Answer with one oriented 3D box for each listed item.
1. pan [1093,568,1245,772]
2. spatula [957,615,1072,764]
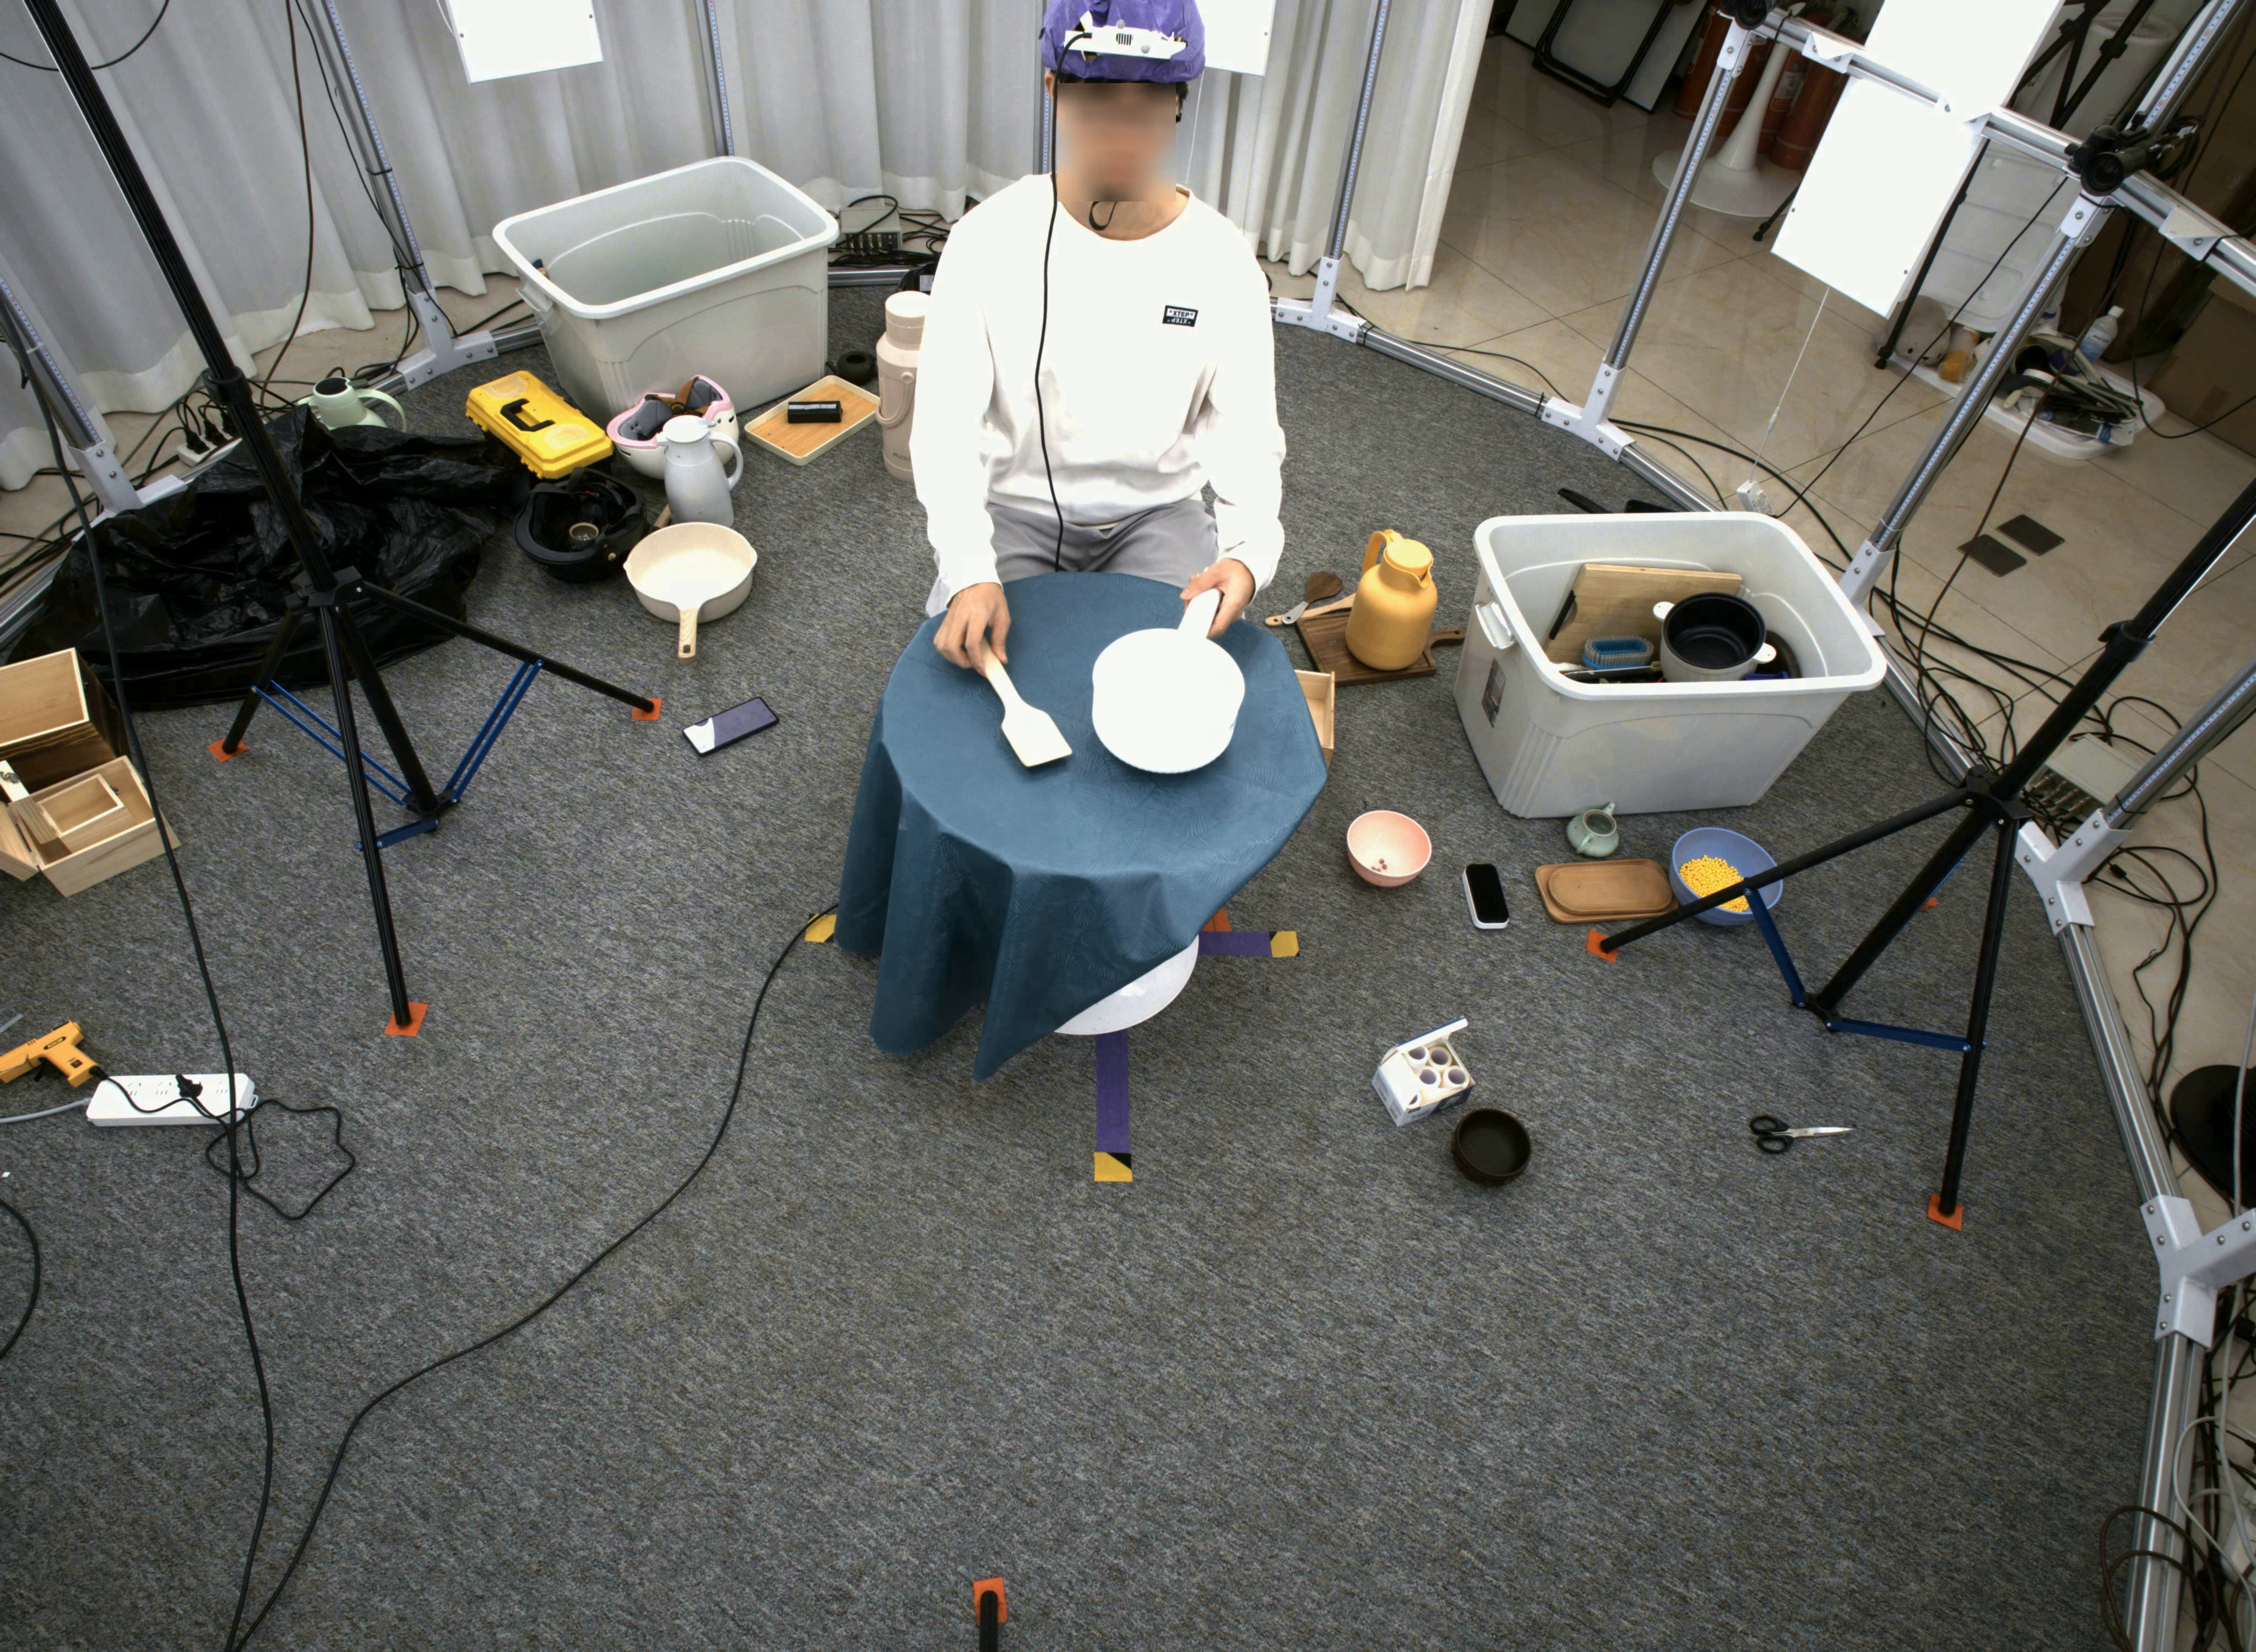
[{"bbox_3d":[0.075,-0.218,1.778,0.202,0.099,0.362,16,48,9],"label":"pan"},{"bbox_3d":[-0.172,-0.196,1.791,0.072,0.010,0.299,-18,55,-21],"label":"spatula"}]
